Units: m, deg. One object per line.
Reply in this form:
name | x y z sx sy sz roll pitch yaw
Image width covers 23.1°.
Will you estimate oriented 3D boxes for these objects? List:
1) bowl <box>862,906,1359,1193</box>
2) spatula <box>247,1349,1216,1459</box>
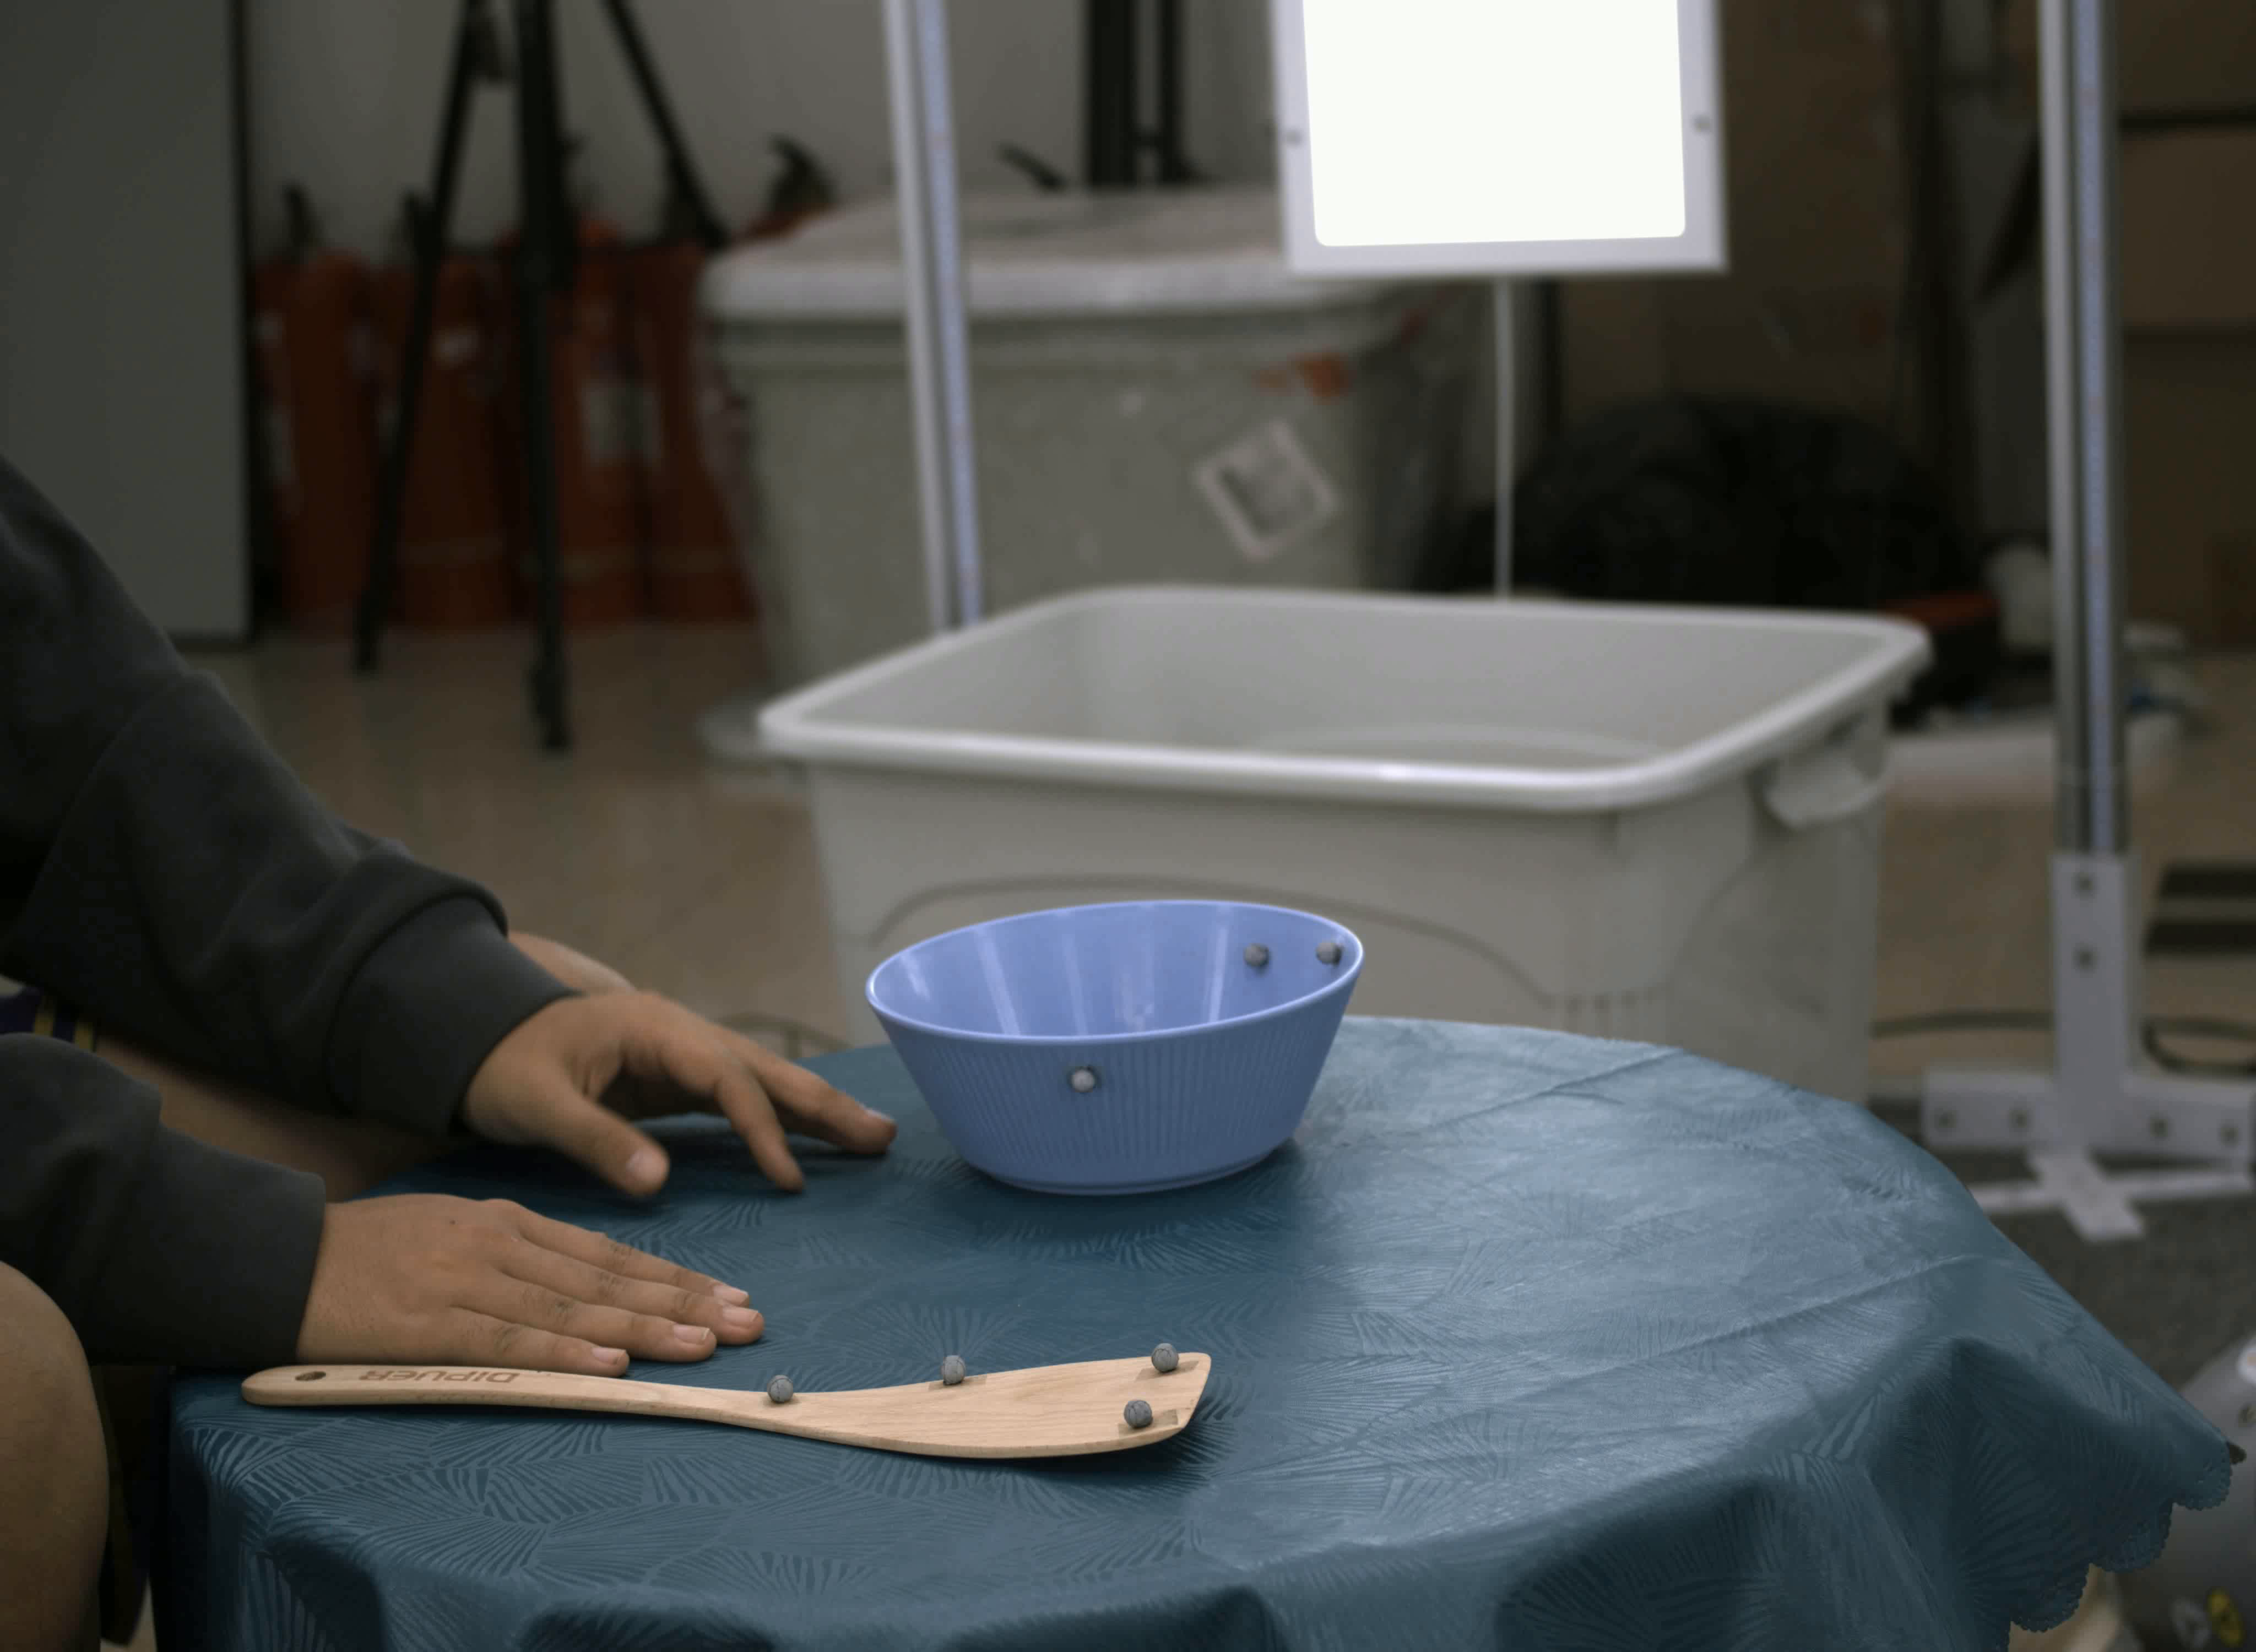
bowl | -0.004 0.081 1.938 0.175 0.070 0.176 -5 14 0
spatula | -0.126 0.175 1.711 0.332 0.016 0.078 0 15 21
